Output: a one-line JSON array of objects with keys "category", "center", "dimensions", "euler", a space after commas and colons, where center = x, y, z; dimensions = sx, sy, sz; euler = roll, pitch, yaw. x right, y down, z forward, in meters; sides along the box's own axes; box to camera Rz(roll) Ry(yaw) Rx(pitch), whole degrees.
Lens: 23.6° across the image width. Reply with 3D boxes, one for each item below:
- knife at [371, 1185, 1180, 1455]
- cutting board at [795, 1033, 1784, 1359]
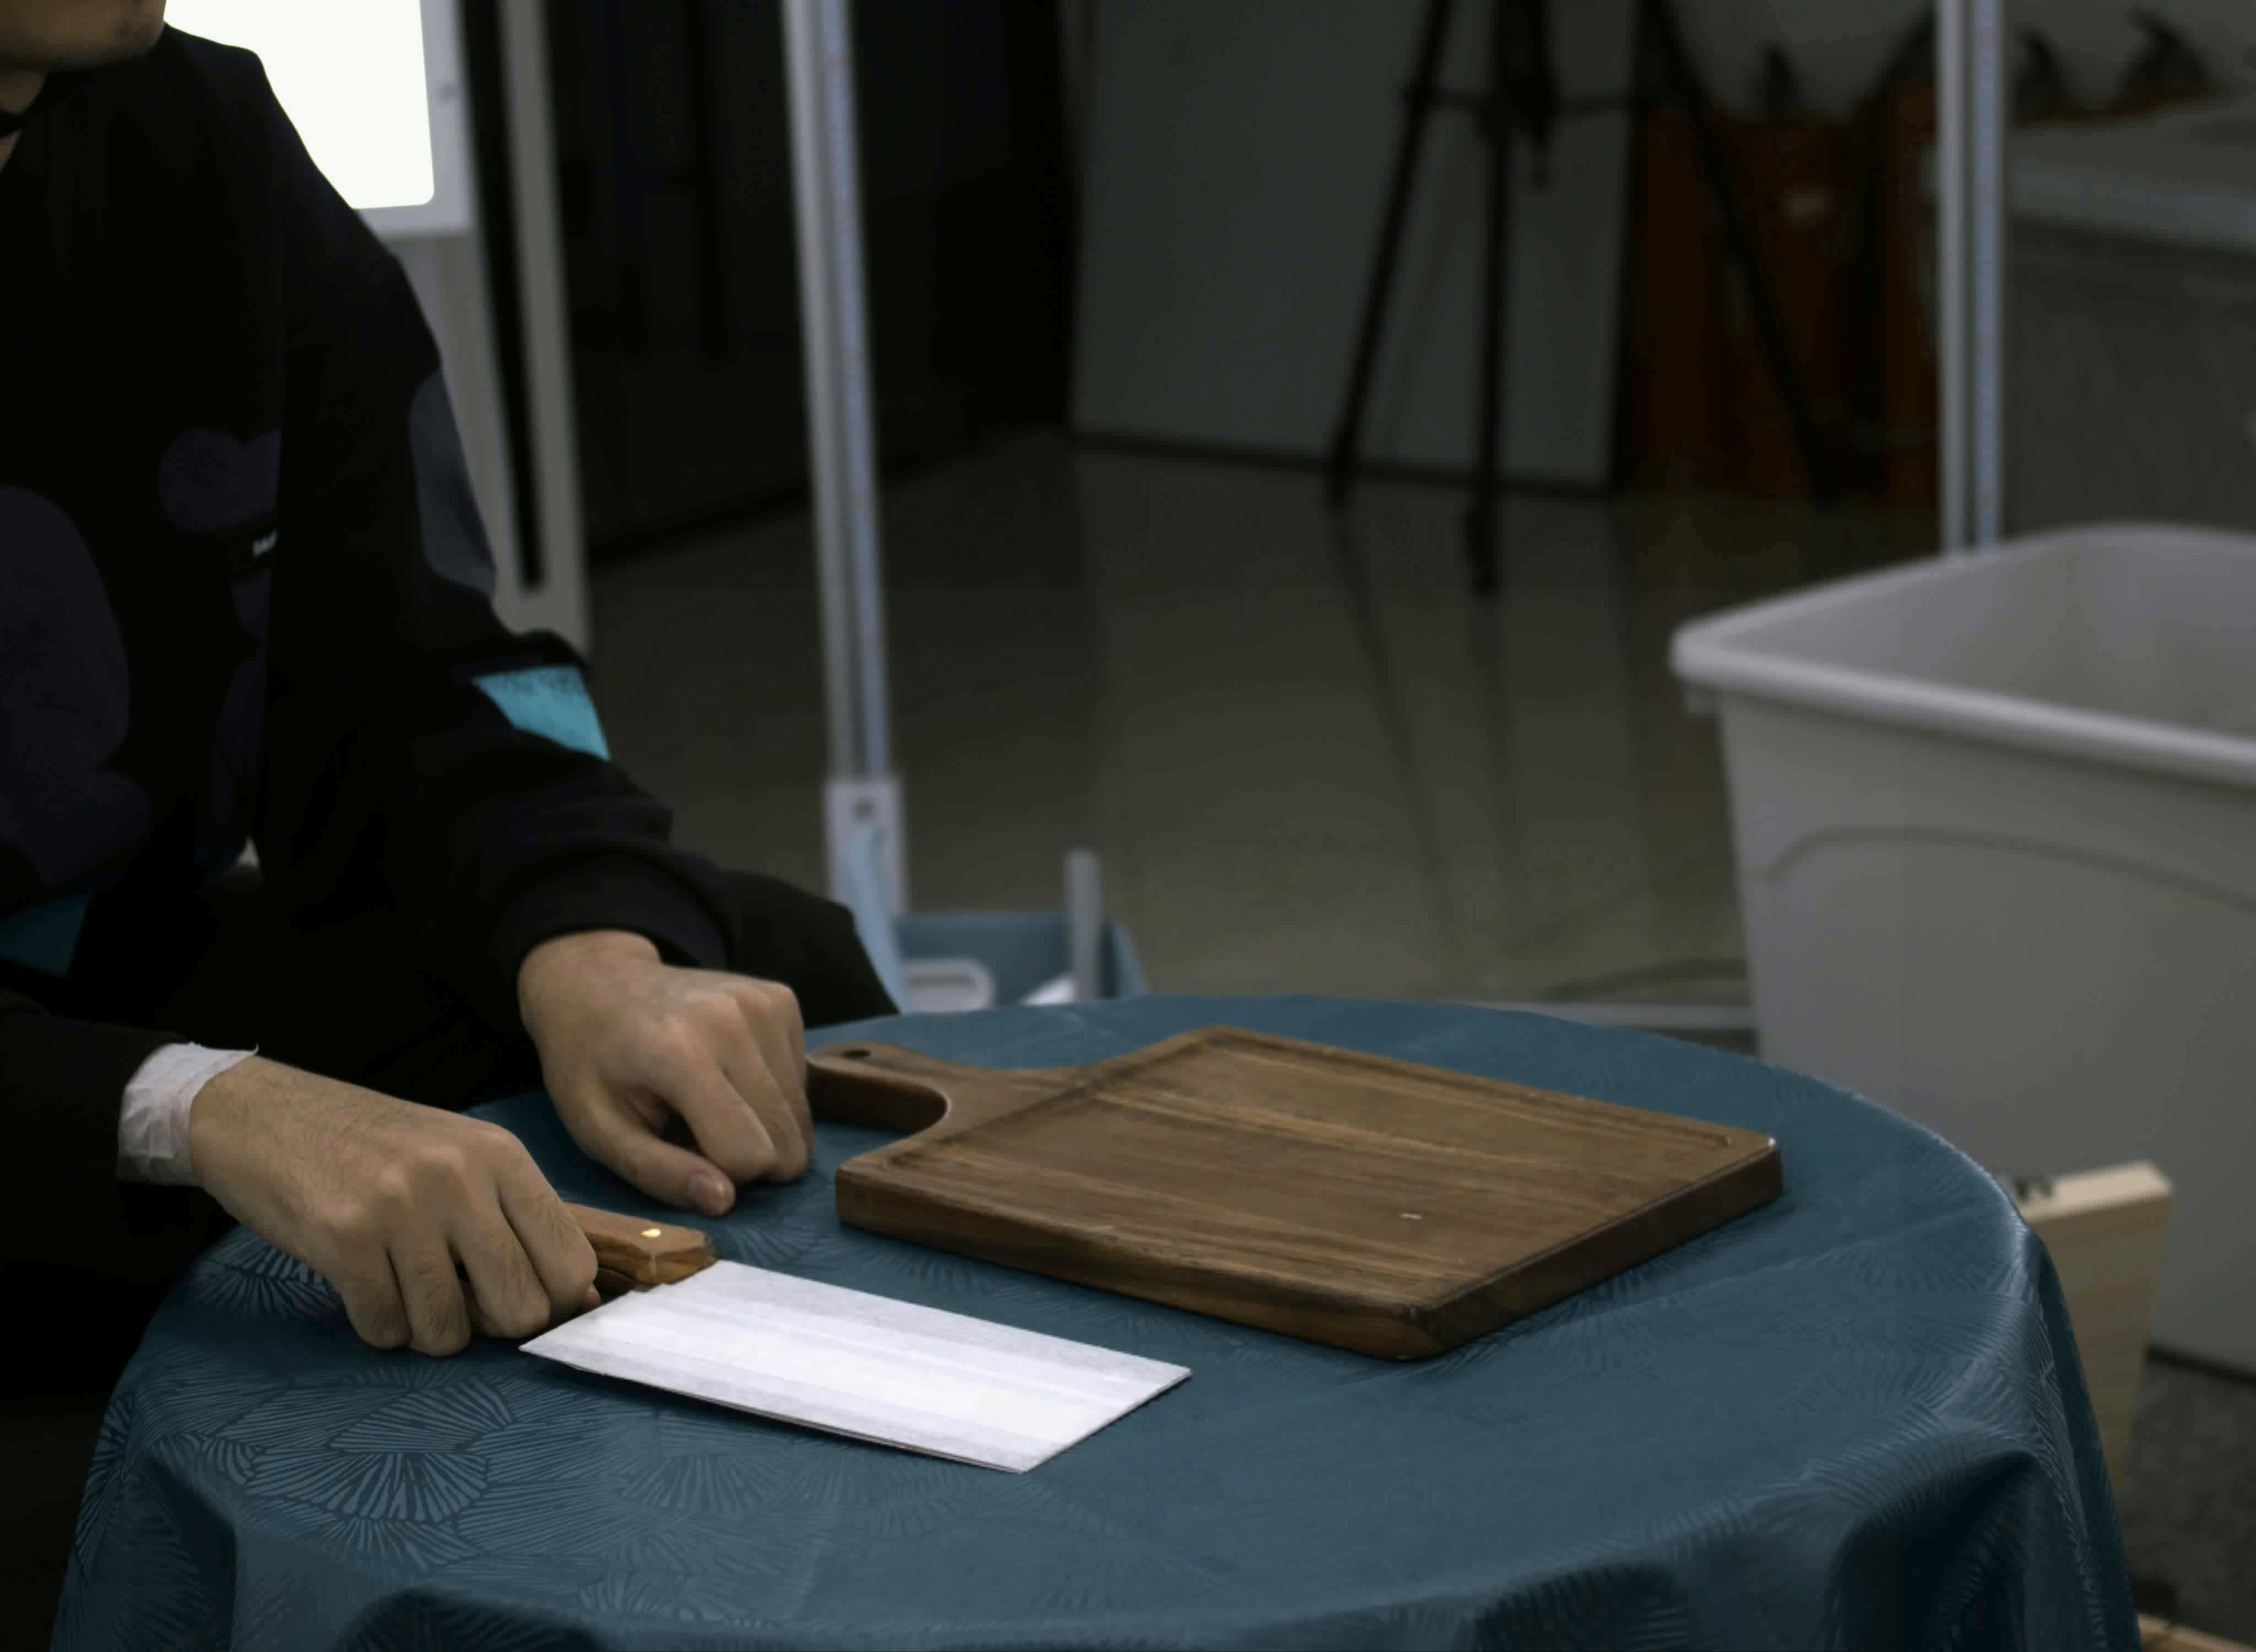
[{"category": "knife", "center": [-0.127, 0.153, 1.648], "dimensions": [0.307, 0.021, 0.091], "euler": [9, 20, 35]}, {"category": "cutting board", "center": [0.022, 0.109, 1.770], "dimensions": [0.355, 0.023, 0.197], "euler": [8, 18, 42]}]
